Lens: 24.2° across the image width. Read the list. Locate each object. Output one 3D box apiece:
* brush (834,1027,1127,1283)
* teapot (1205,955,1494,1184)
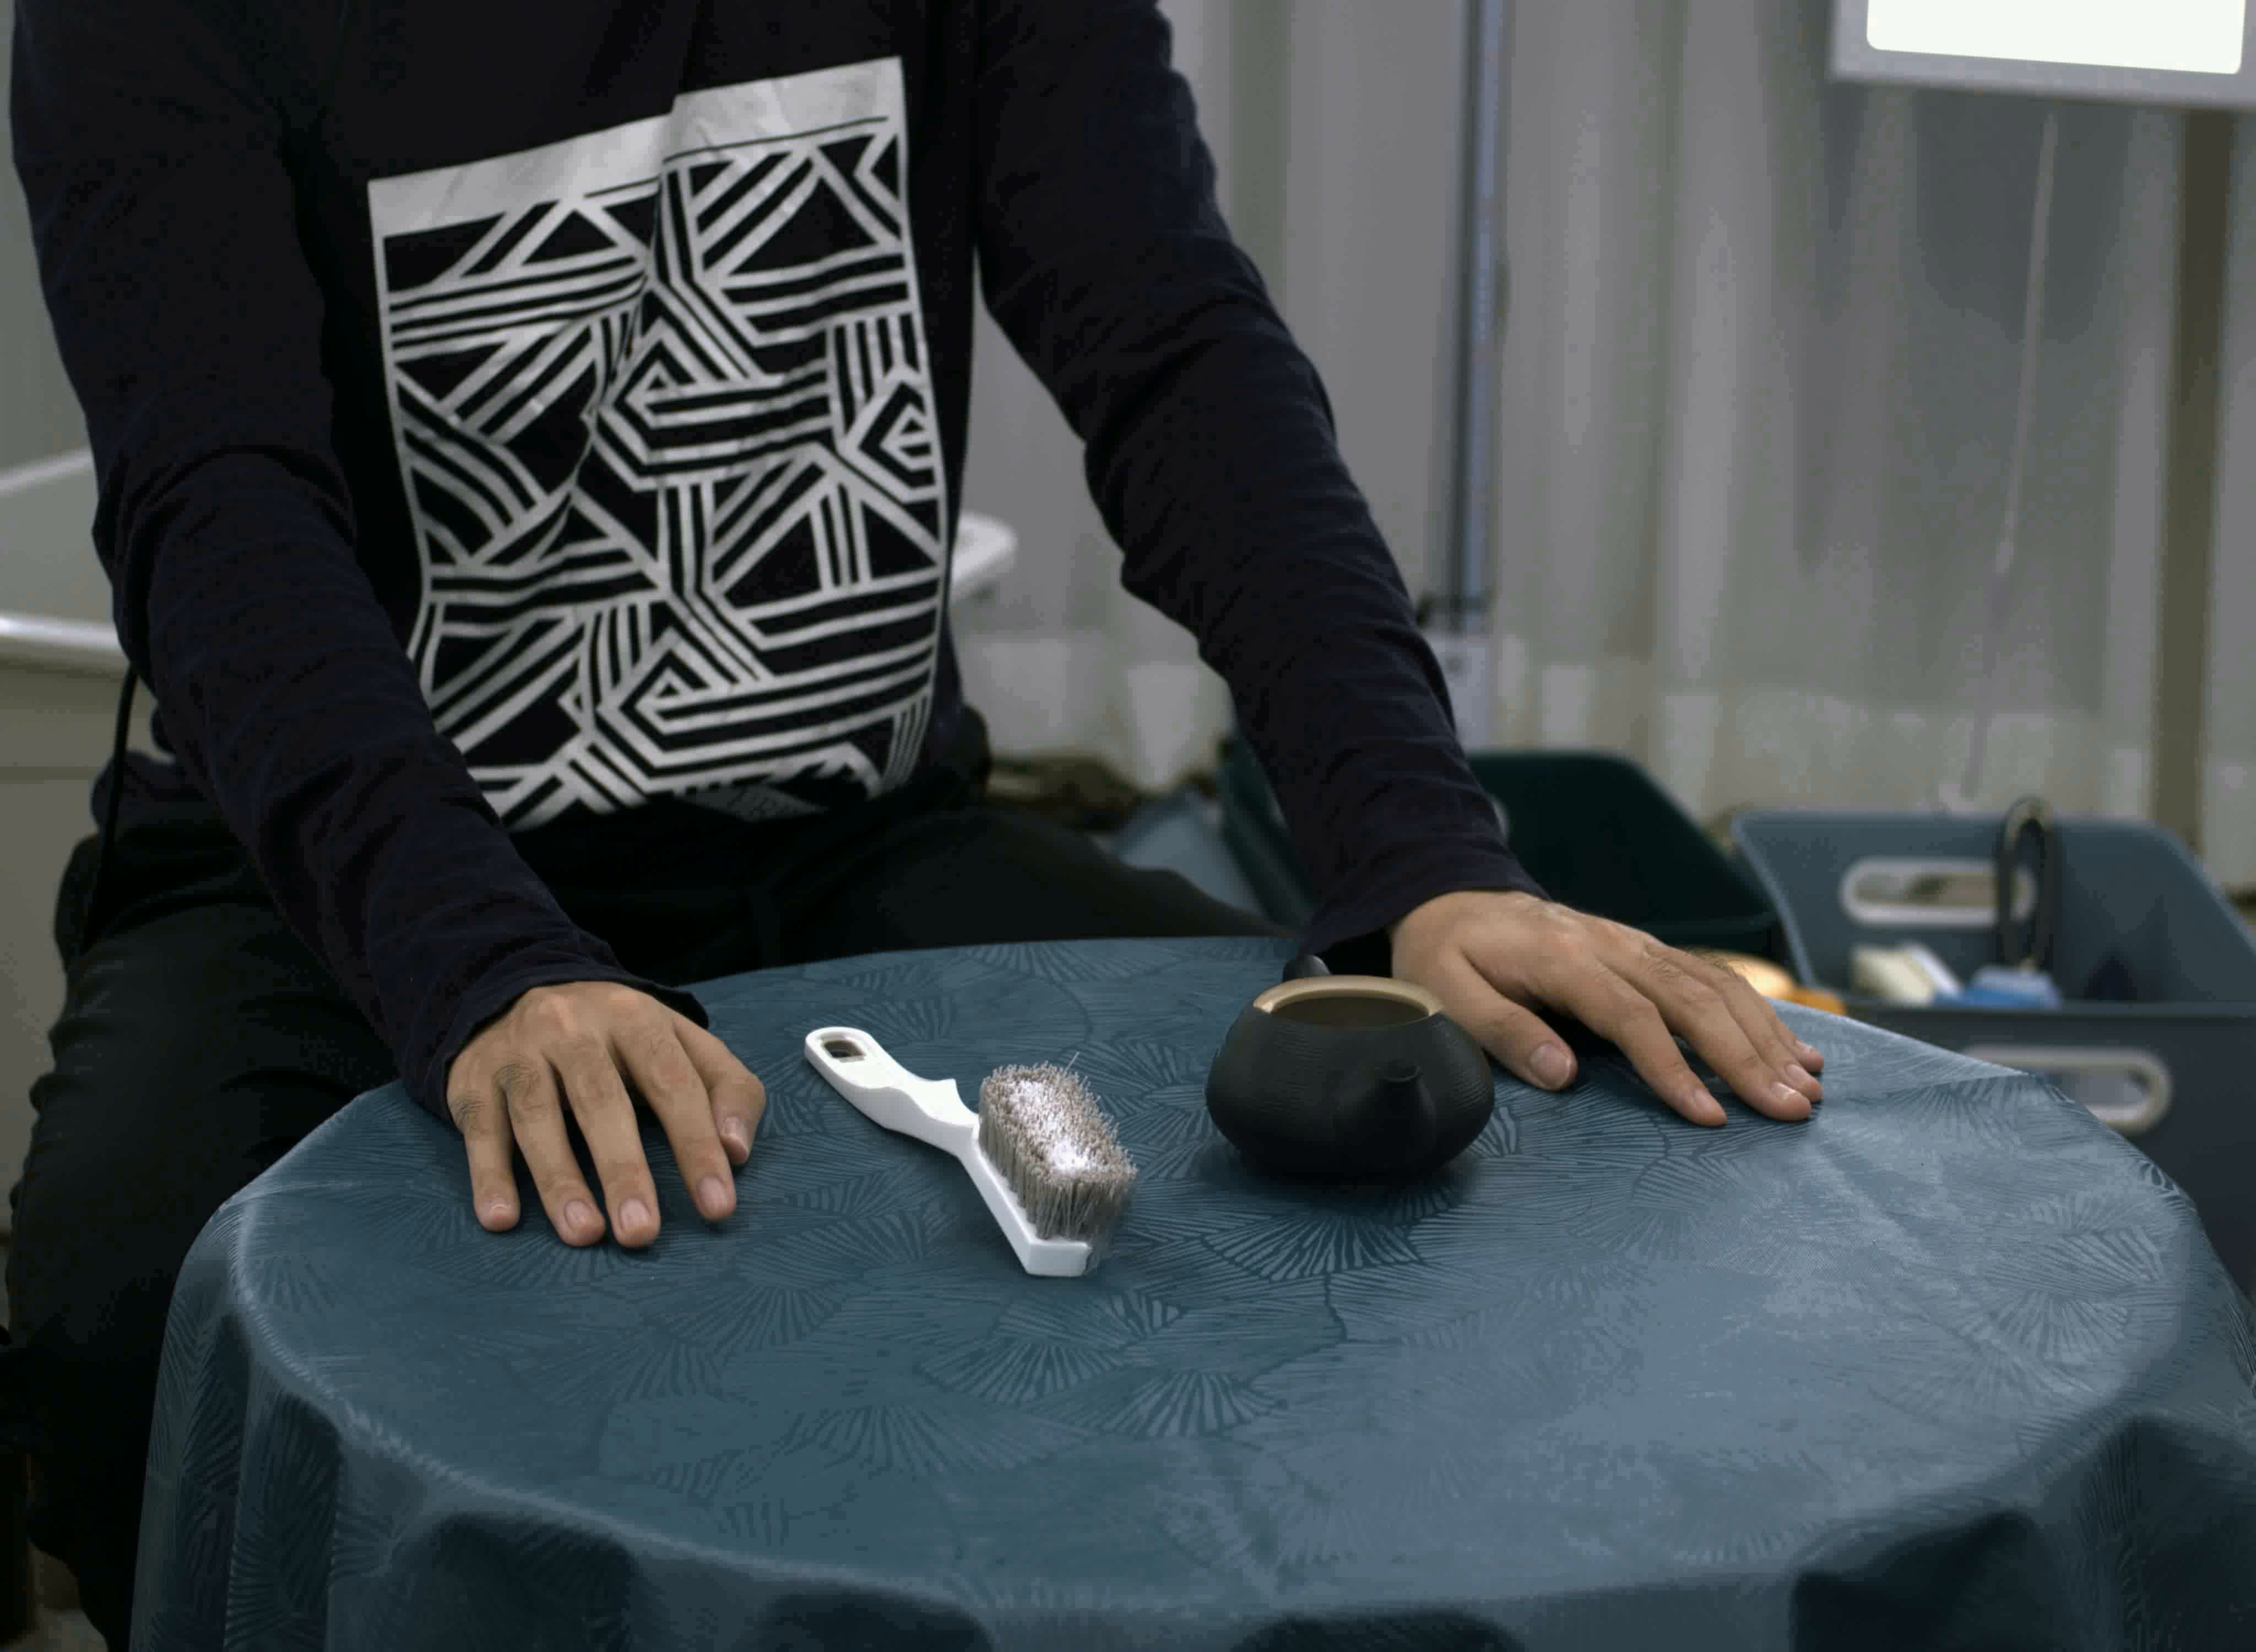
[{"bbox_3d":[-0.052,0.082,1.644,0.034,0.050,0.241,-9,18,-17],"label":"brush"},{"bbox_3d":[0.069,0.079,1.649,0.091,0.053,0.132,0,15,-15],"label":"teapot"}]
